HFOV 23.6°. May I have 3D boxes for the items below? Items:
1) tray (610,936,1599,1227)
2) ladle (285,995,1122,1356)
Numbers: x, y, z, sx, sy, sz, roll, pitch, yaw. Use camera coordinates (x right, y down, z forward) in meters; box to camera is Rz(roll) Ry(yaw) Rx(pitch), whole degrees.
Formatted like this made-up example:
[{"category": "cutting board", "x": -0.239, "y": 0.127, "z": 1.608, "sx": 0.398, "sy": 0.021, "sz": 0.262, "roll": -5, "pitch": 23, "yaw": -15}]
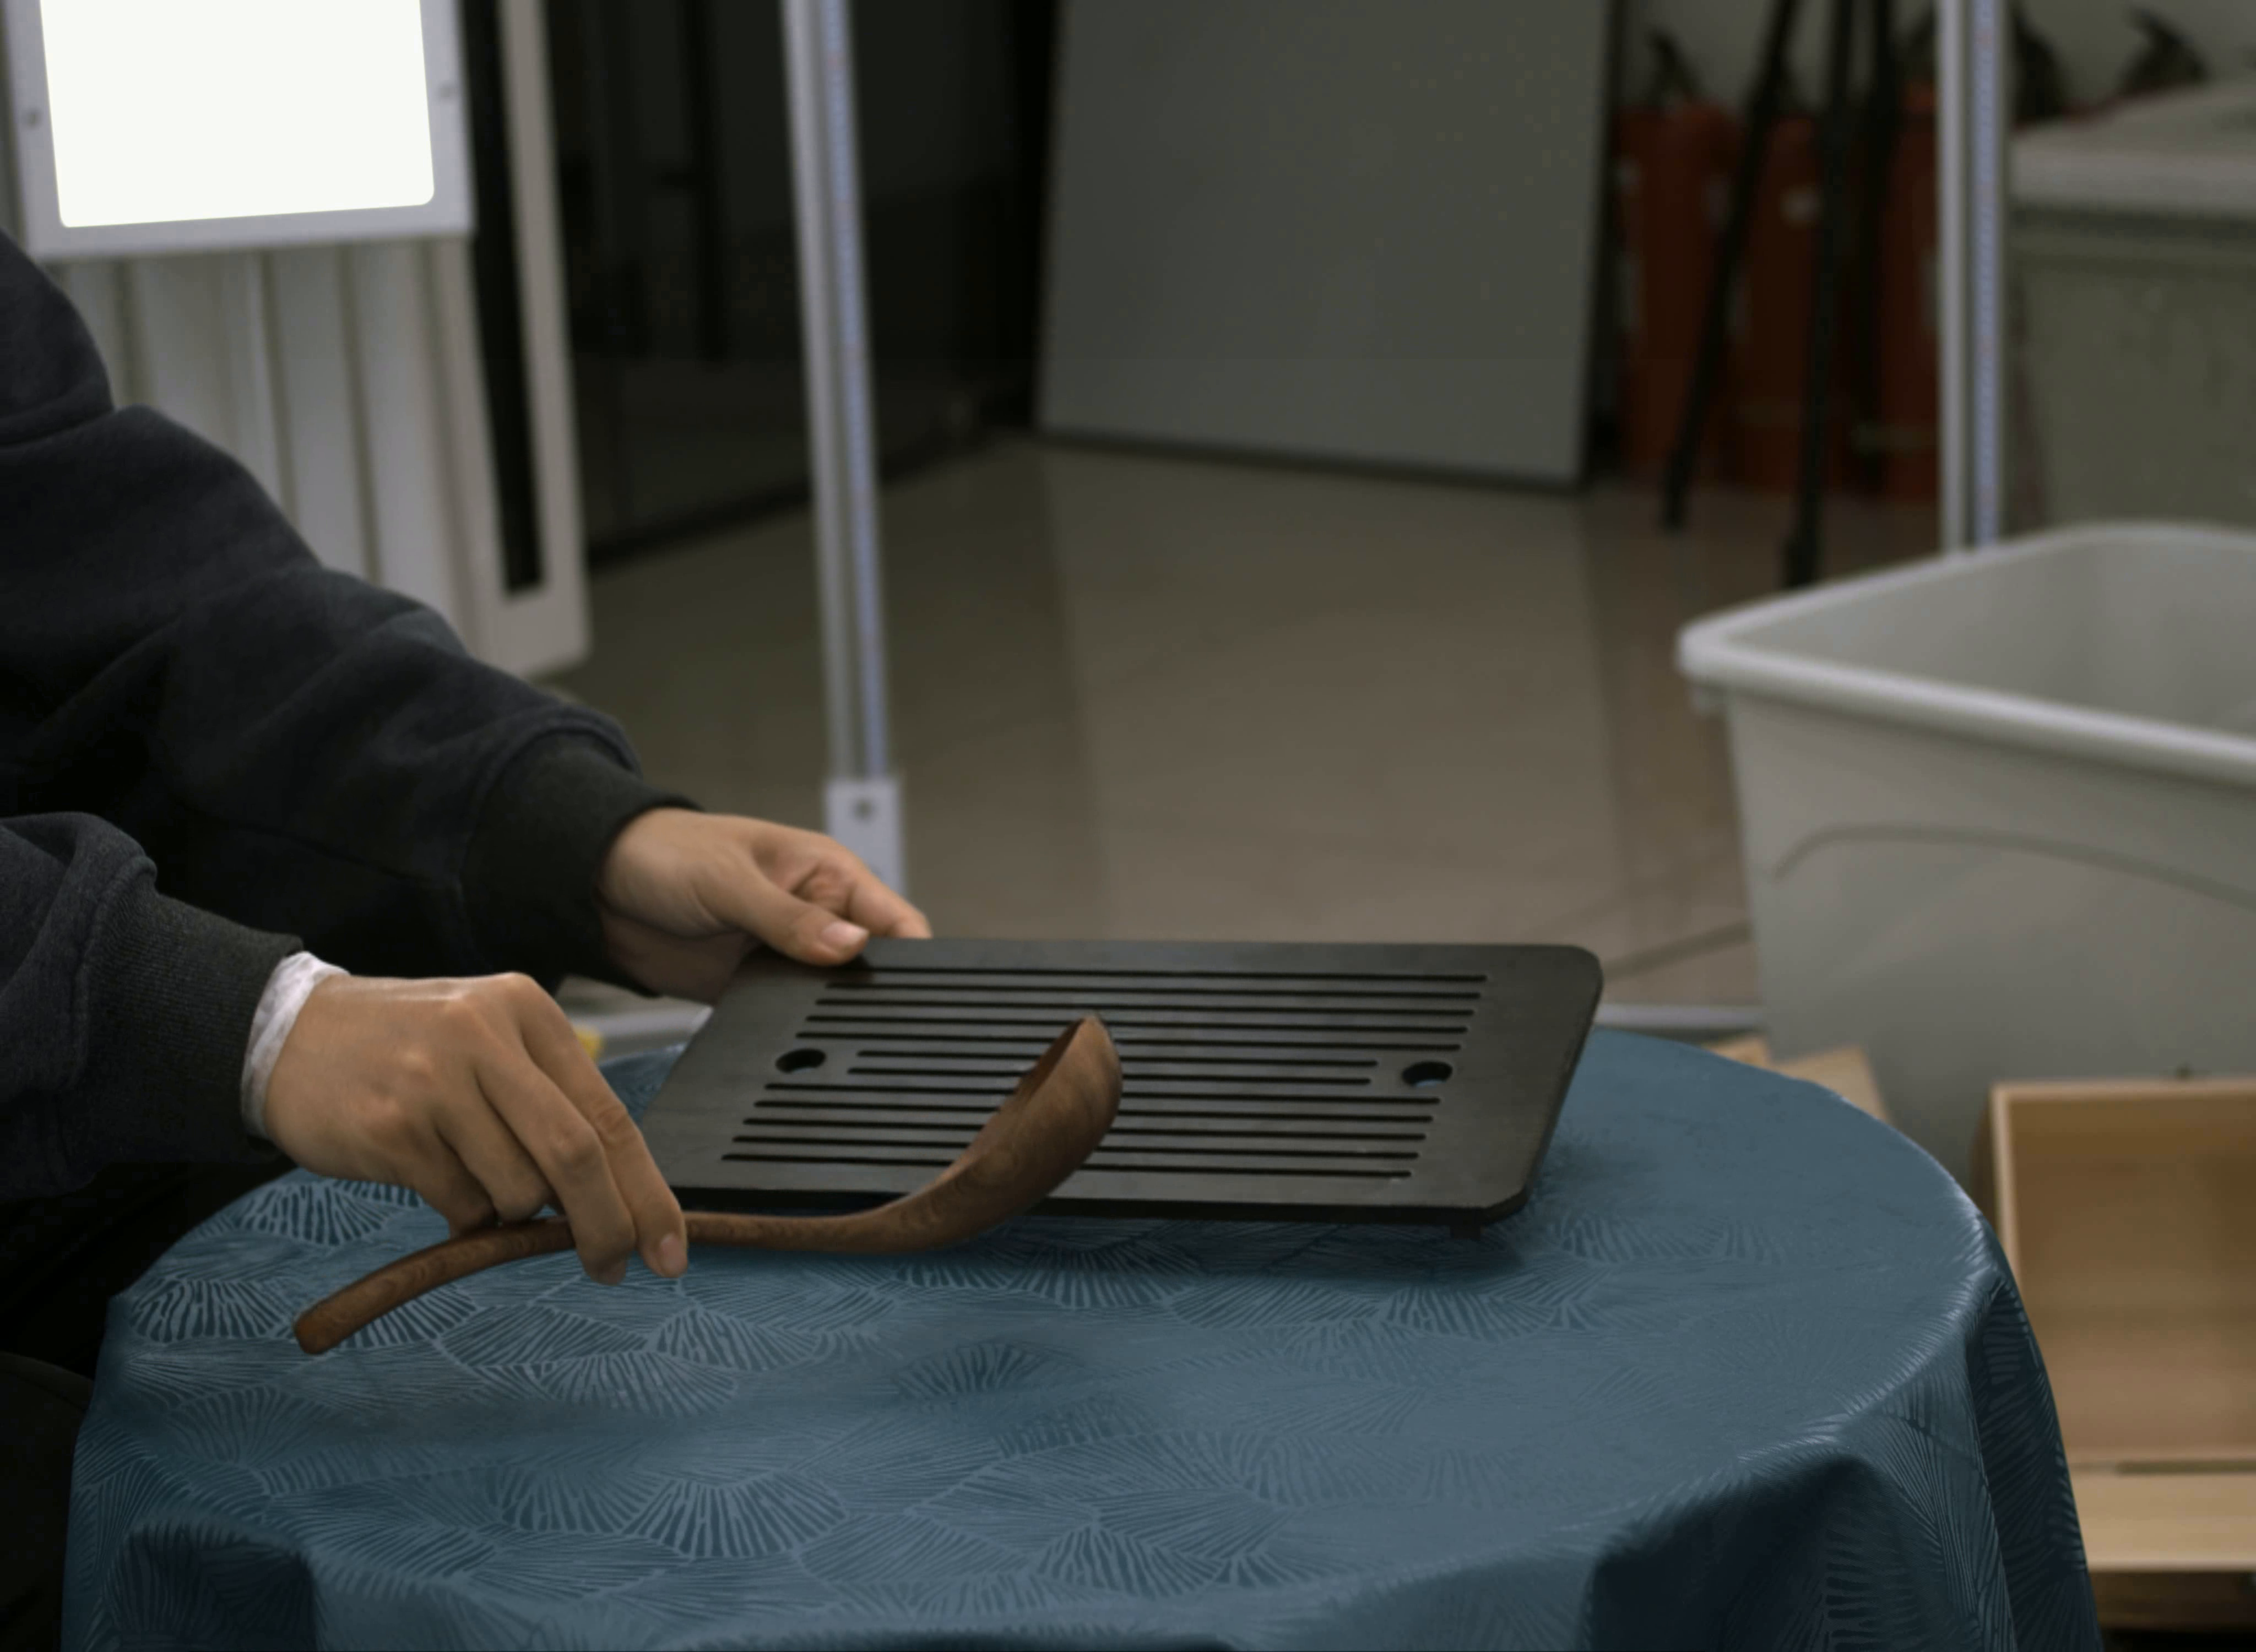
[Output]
[{"category": "tray", "x": -0.005, "y": 0.083, "z": 1.771, "sx": 0.305, "sy": 0.019, "sz": 0.169, "roll": -1, "pitch": 27, "yaw": 18}, {"category": "ladle", "x": -0.125, "y": 0.103, "z": 1.605, "sx": 0.256, "sy": 0.066, "sz": 0.077, "roll": -10, "pitch": -9, "yaw": -8}]
